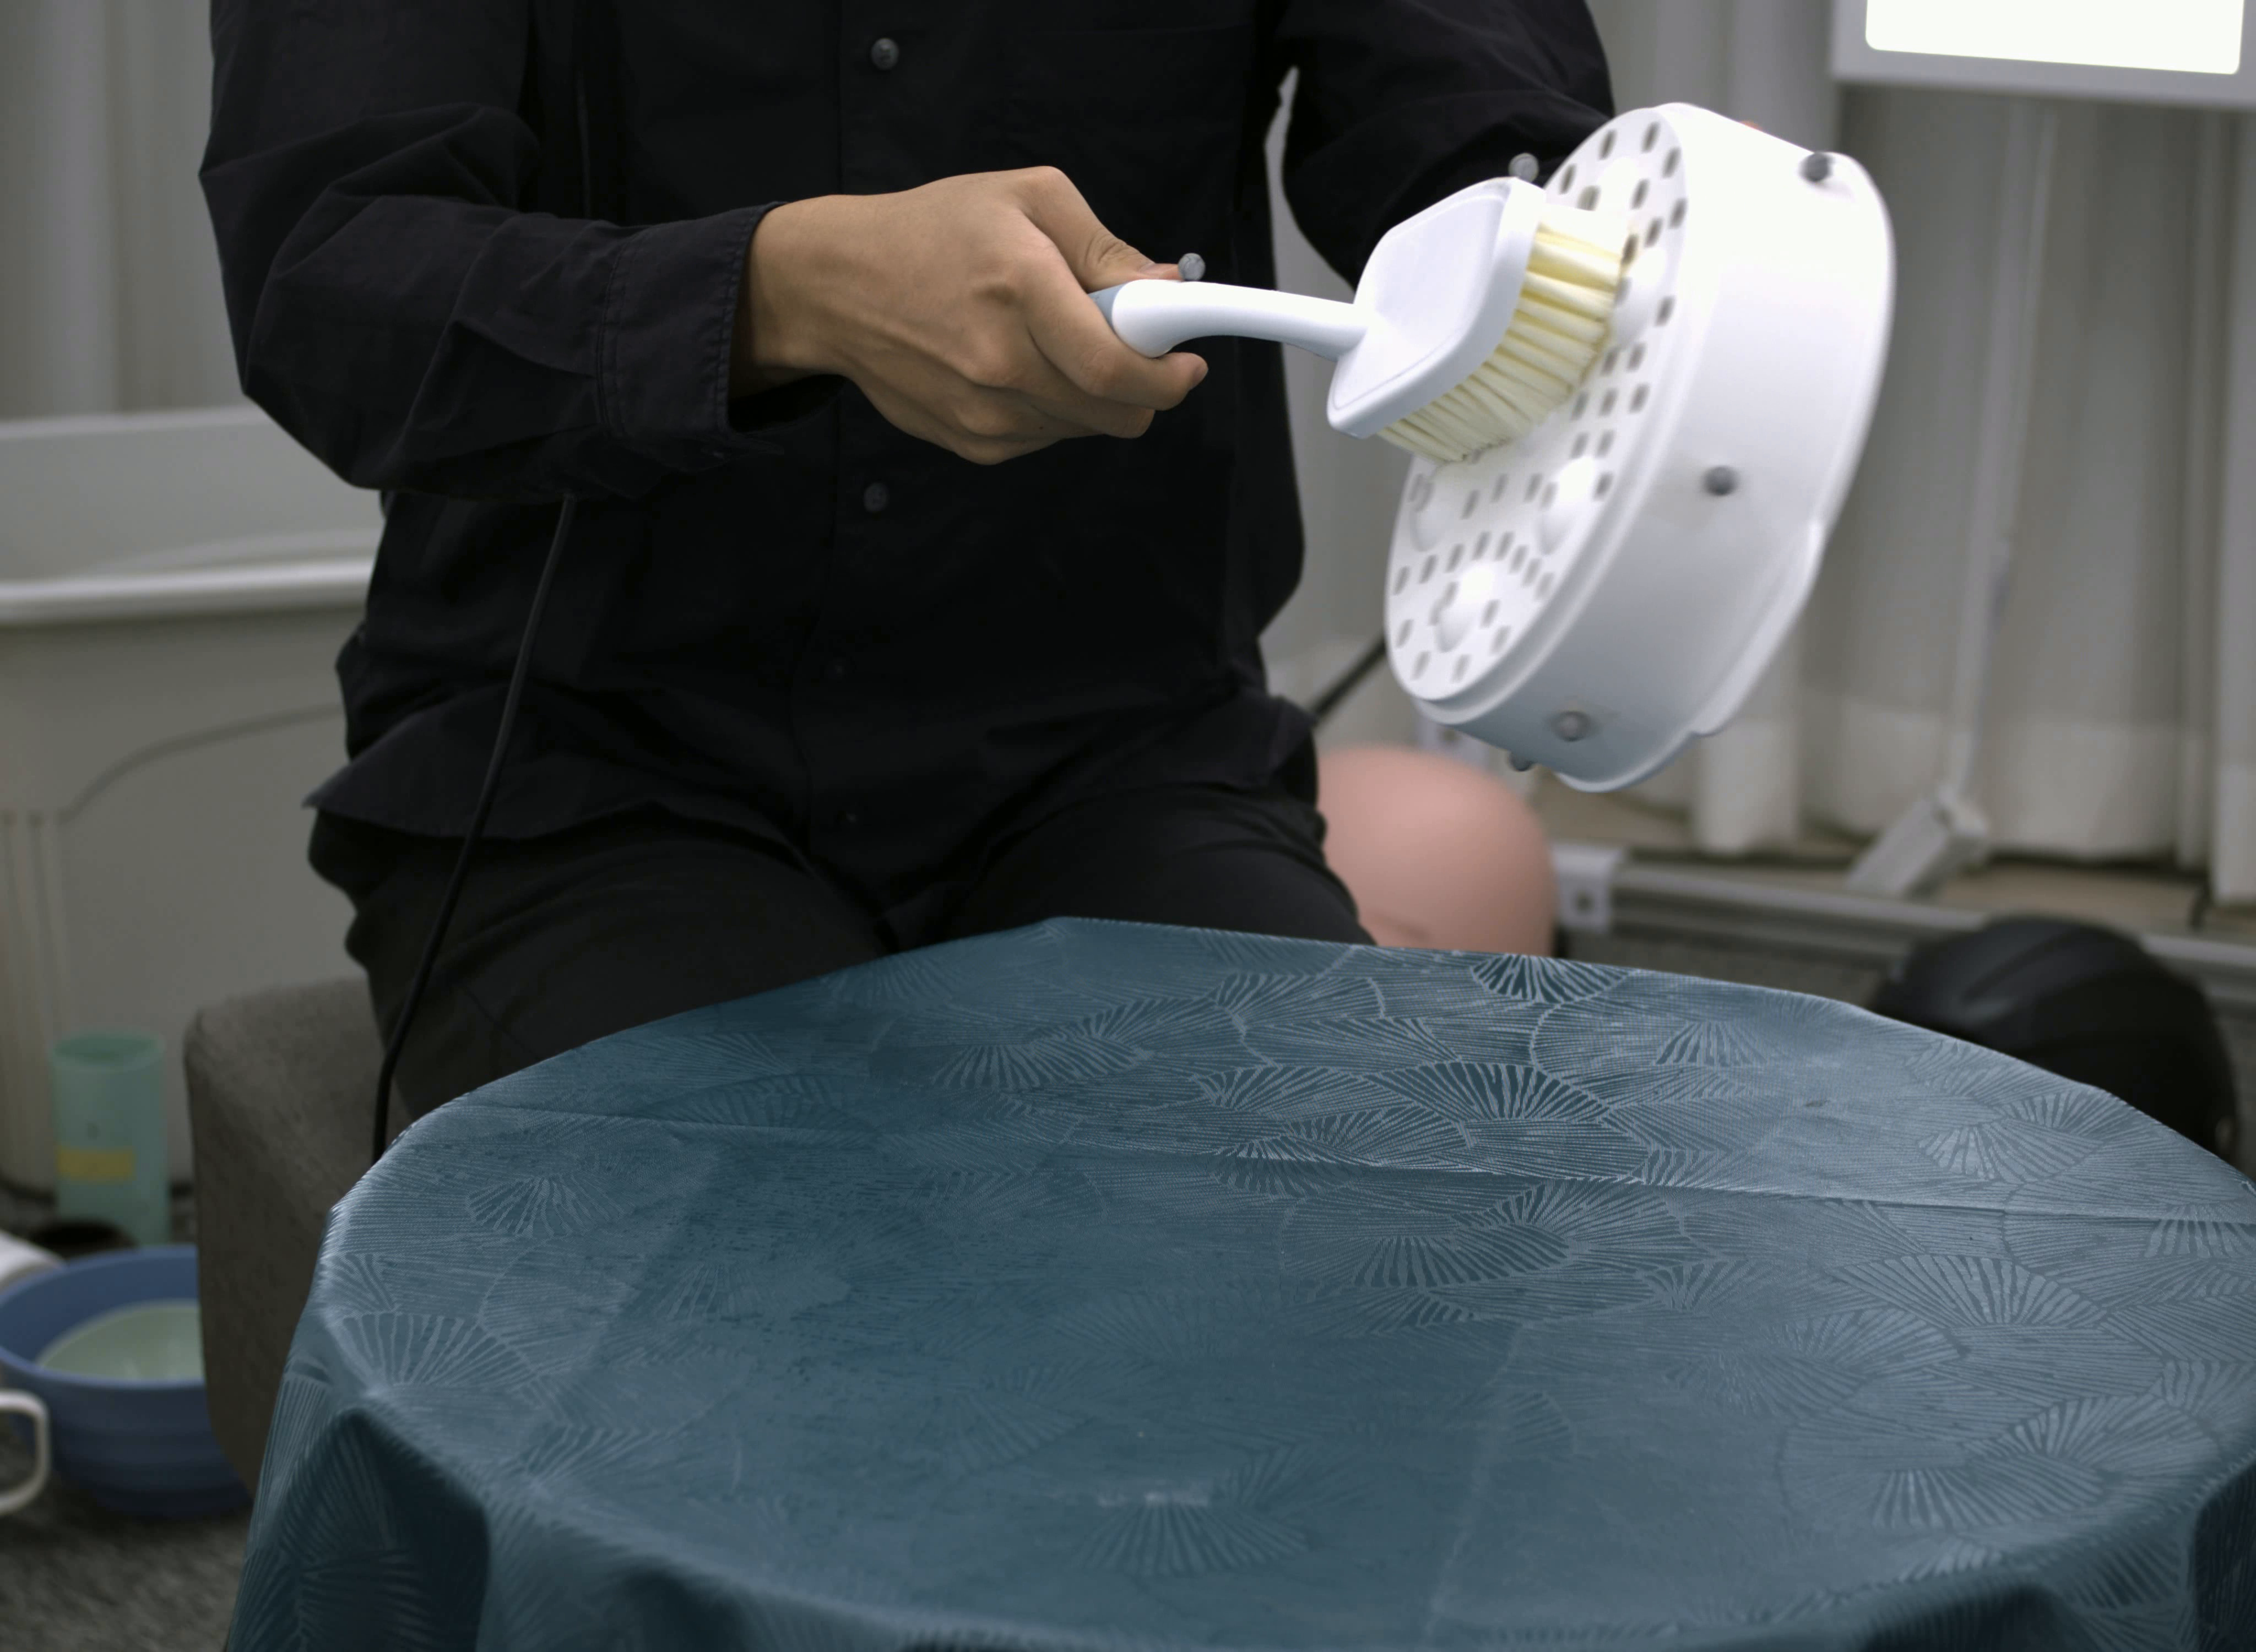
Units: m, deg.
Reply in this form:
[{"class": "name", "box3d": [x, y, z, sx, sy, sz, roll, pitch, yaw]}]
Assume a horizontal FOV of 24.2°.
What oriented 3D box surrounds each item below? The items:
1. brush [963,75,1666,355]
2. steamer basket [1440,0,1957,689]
[{"class": "brush", "box3d": [0.067, -0.182, 1.658, 0.083, 0.085, 0.322, -41, 18, -30]}, {"class": "steamer basket", "box3d": [0.163, -0.145, 1.561, 0.069, 0.203, 0.228, 21, 27, -18]}]
